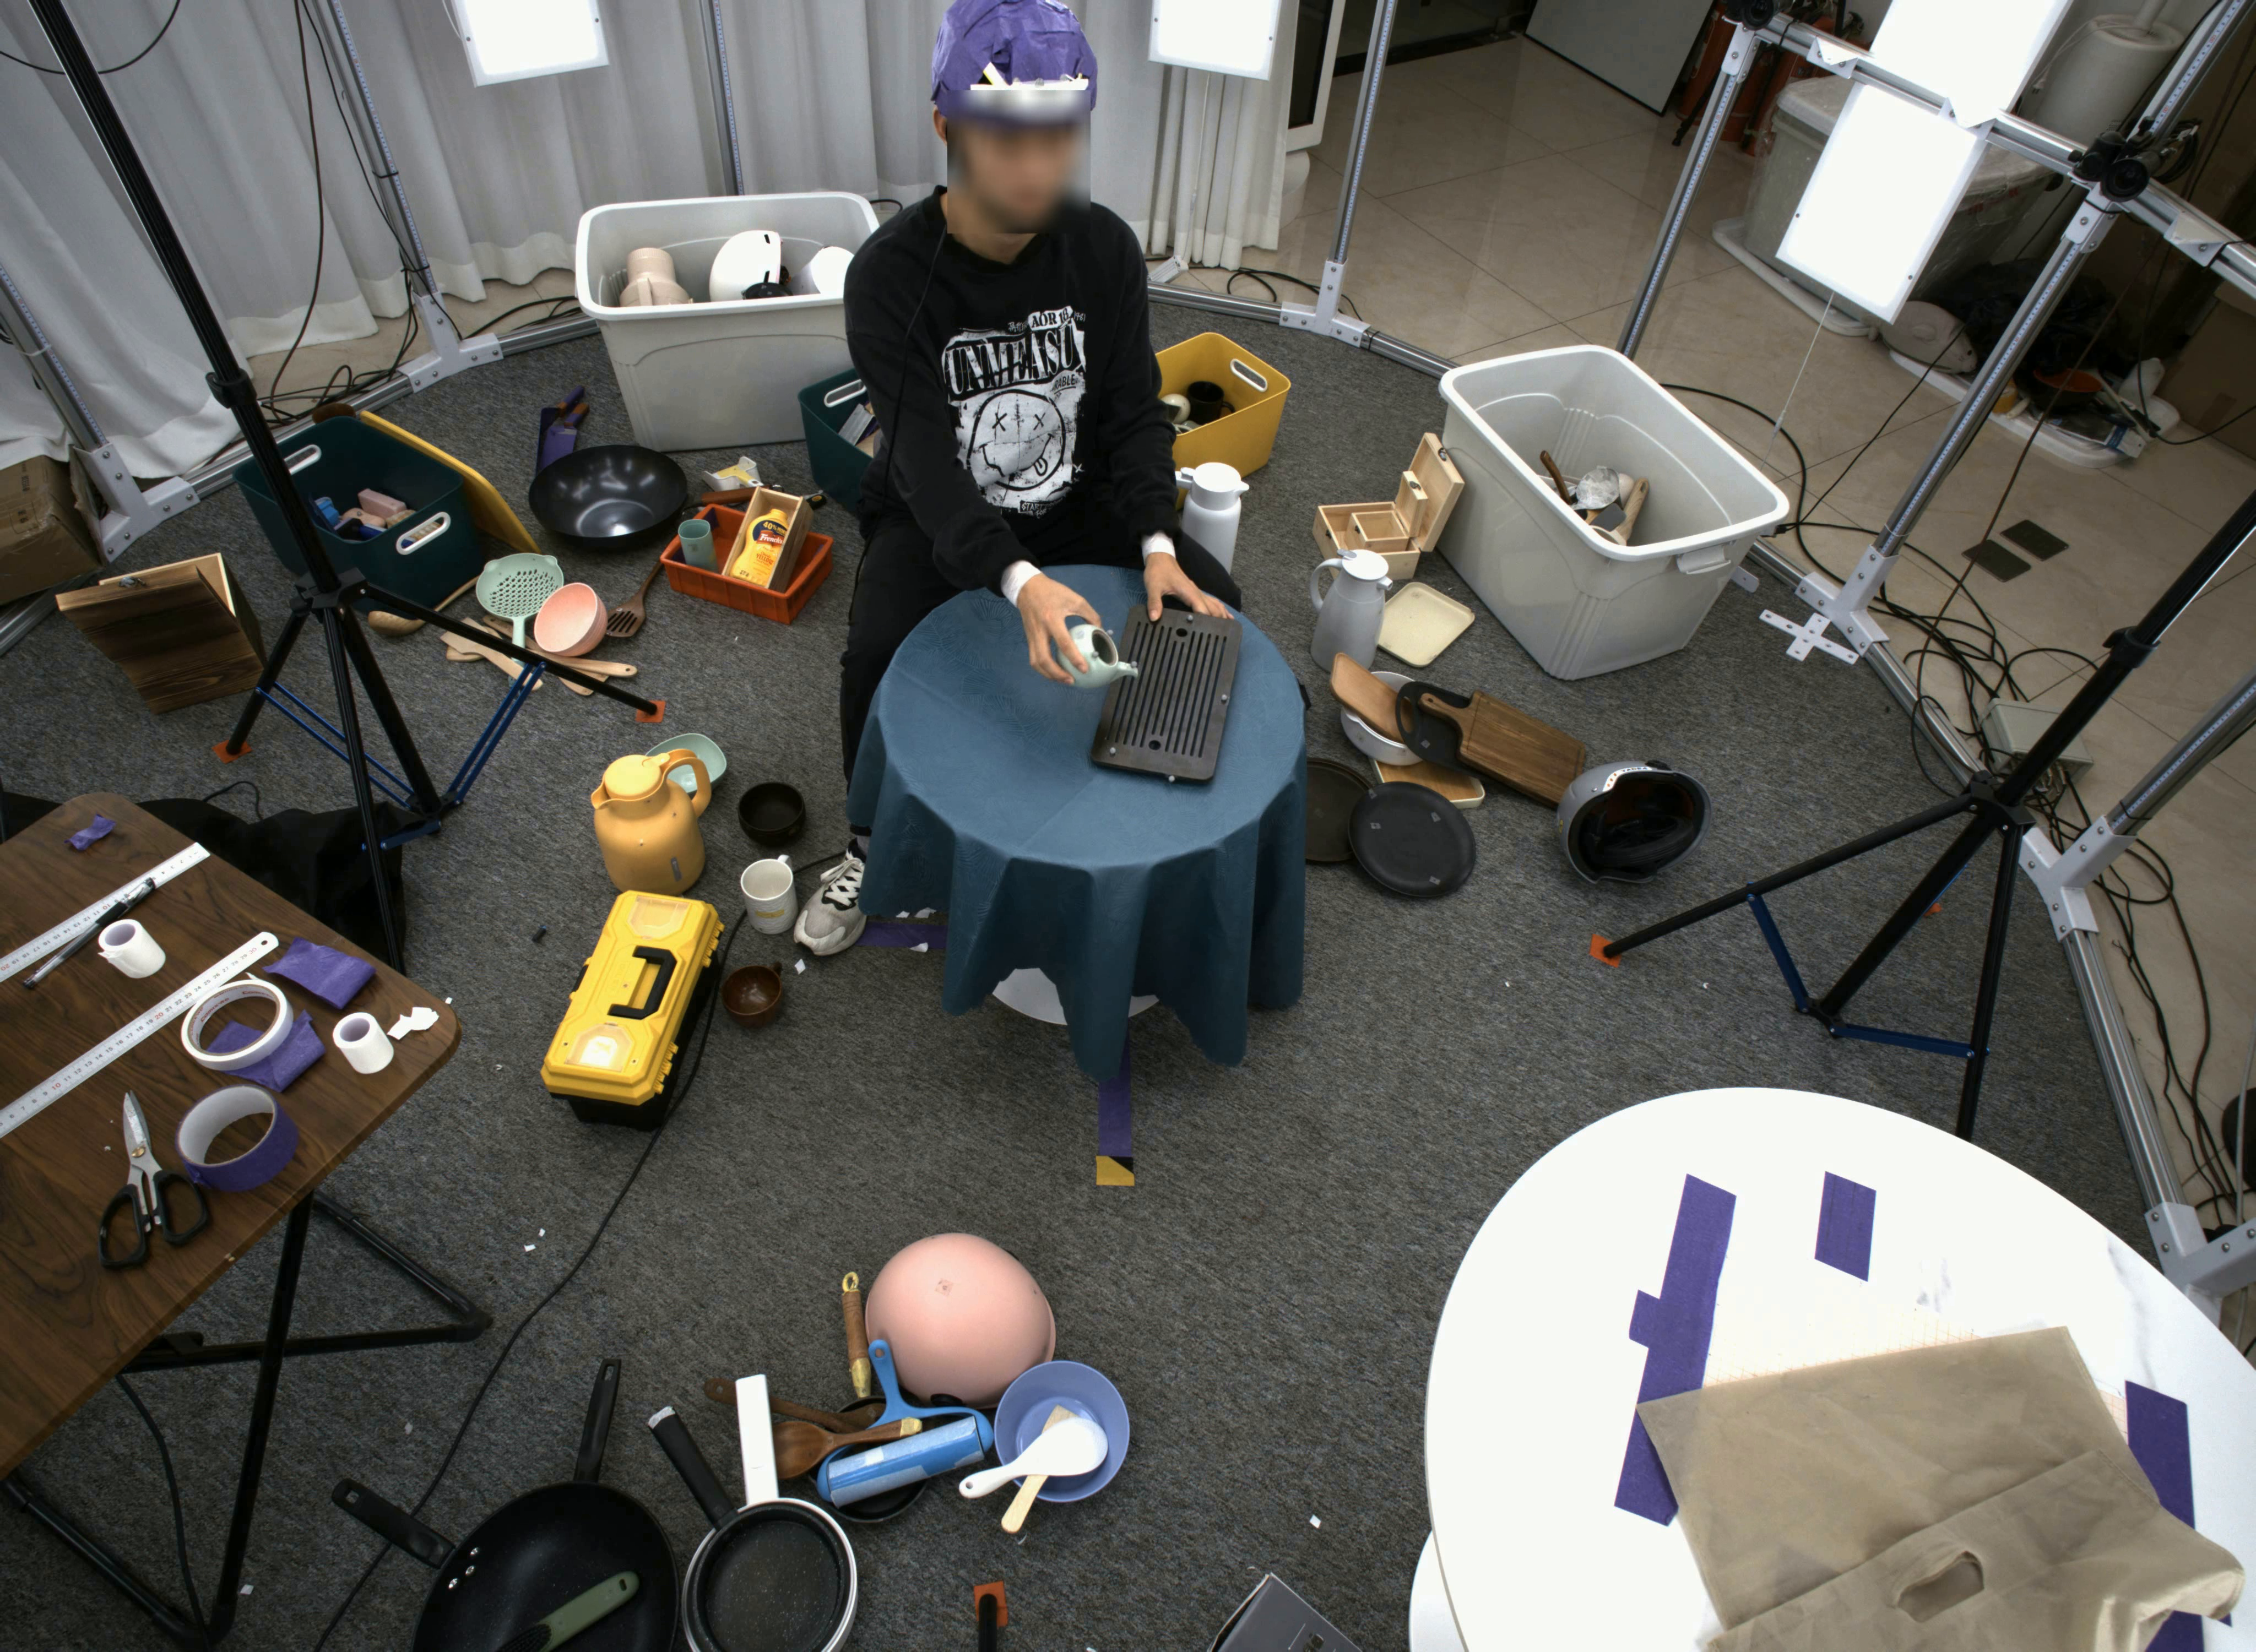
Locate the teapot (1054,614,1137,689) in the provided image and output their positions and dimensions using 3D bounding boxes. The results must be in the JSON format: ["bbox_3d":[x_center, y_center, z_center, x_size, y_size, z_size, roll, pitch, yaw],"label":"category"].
[{"bbox_3d":[-0.054,-0.227,1.715,0.074,0.141,0.090,-23,45,28],"label":"teapot"}]

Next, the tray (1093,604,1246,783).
[{"bbox_3d":[0.063,-0.192,1.814,0.170,0.018,0.313,10,53,6],"label":"tray"}]
